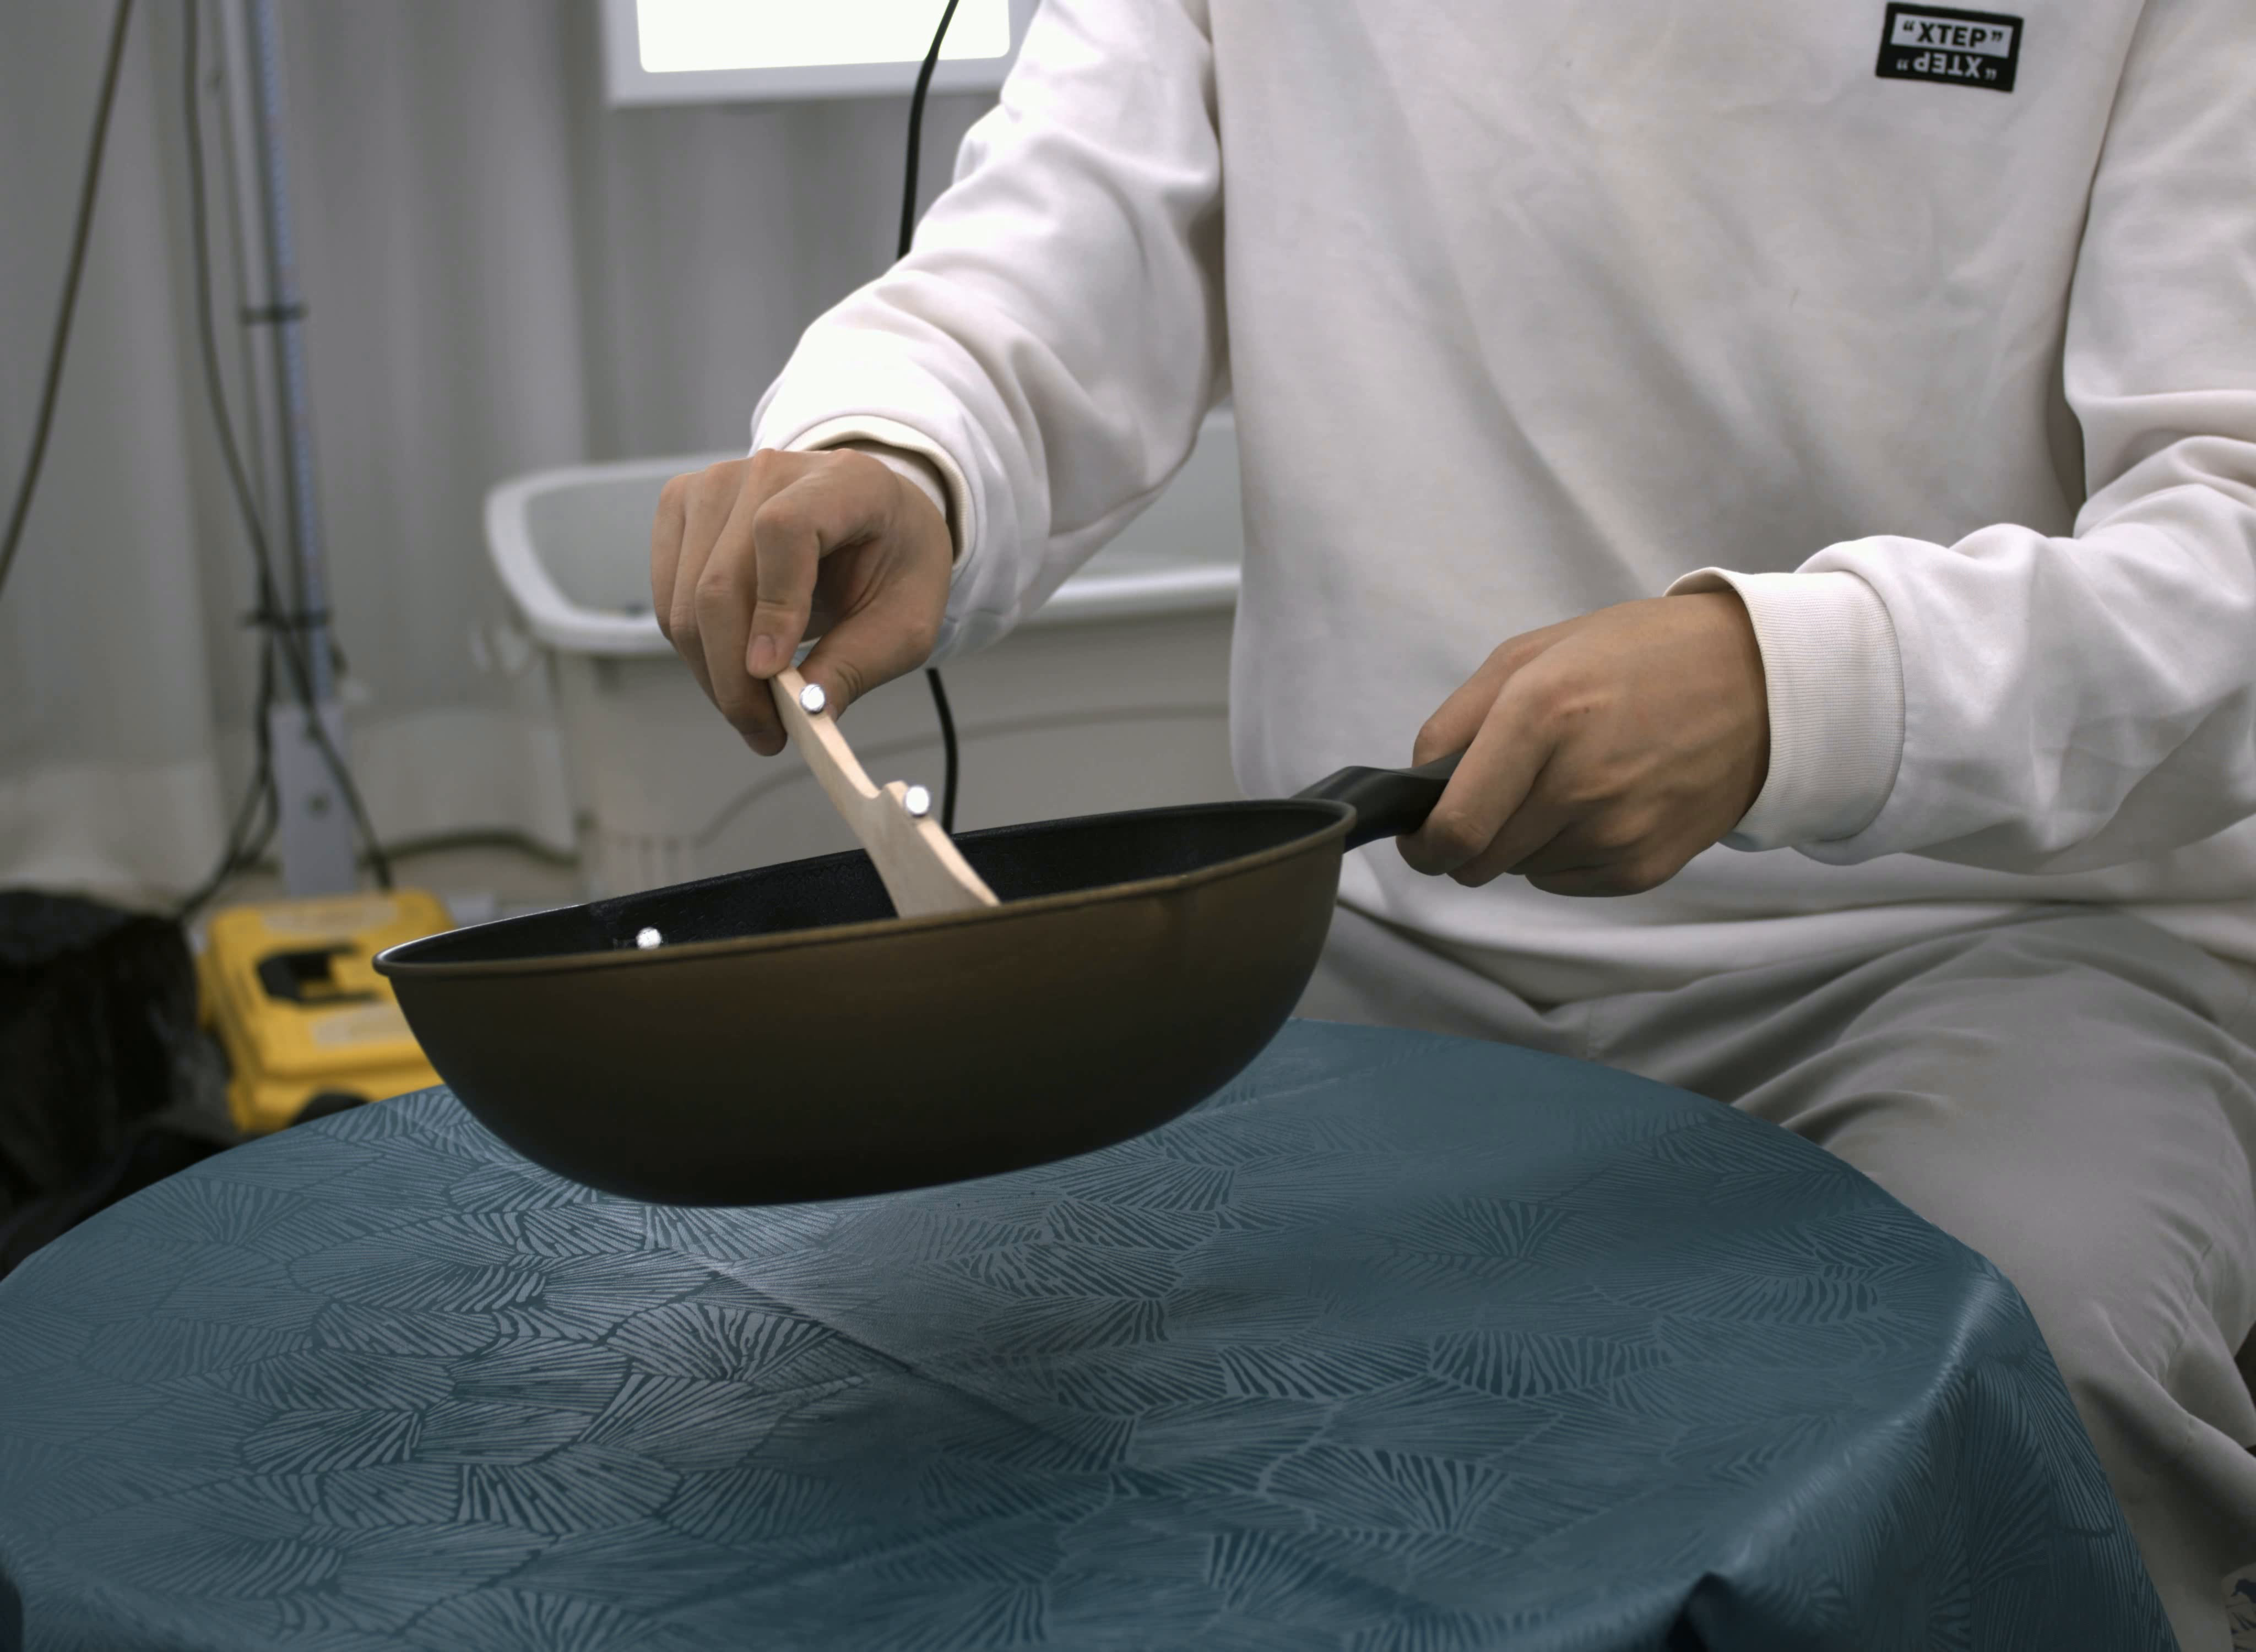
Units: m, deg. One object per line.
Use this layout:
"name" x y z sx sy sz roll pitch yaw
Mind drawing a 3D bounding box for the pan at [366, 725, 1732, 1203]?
"pan" 0.002 0.039 1.593 0.461 0.087 0.289 -10 4 -37

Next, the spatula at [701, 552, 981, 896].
"spatula" -0.084 -0.015 1.637 0.010 0.071 0.297 -19 32 -13
